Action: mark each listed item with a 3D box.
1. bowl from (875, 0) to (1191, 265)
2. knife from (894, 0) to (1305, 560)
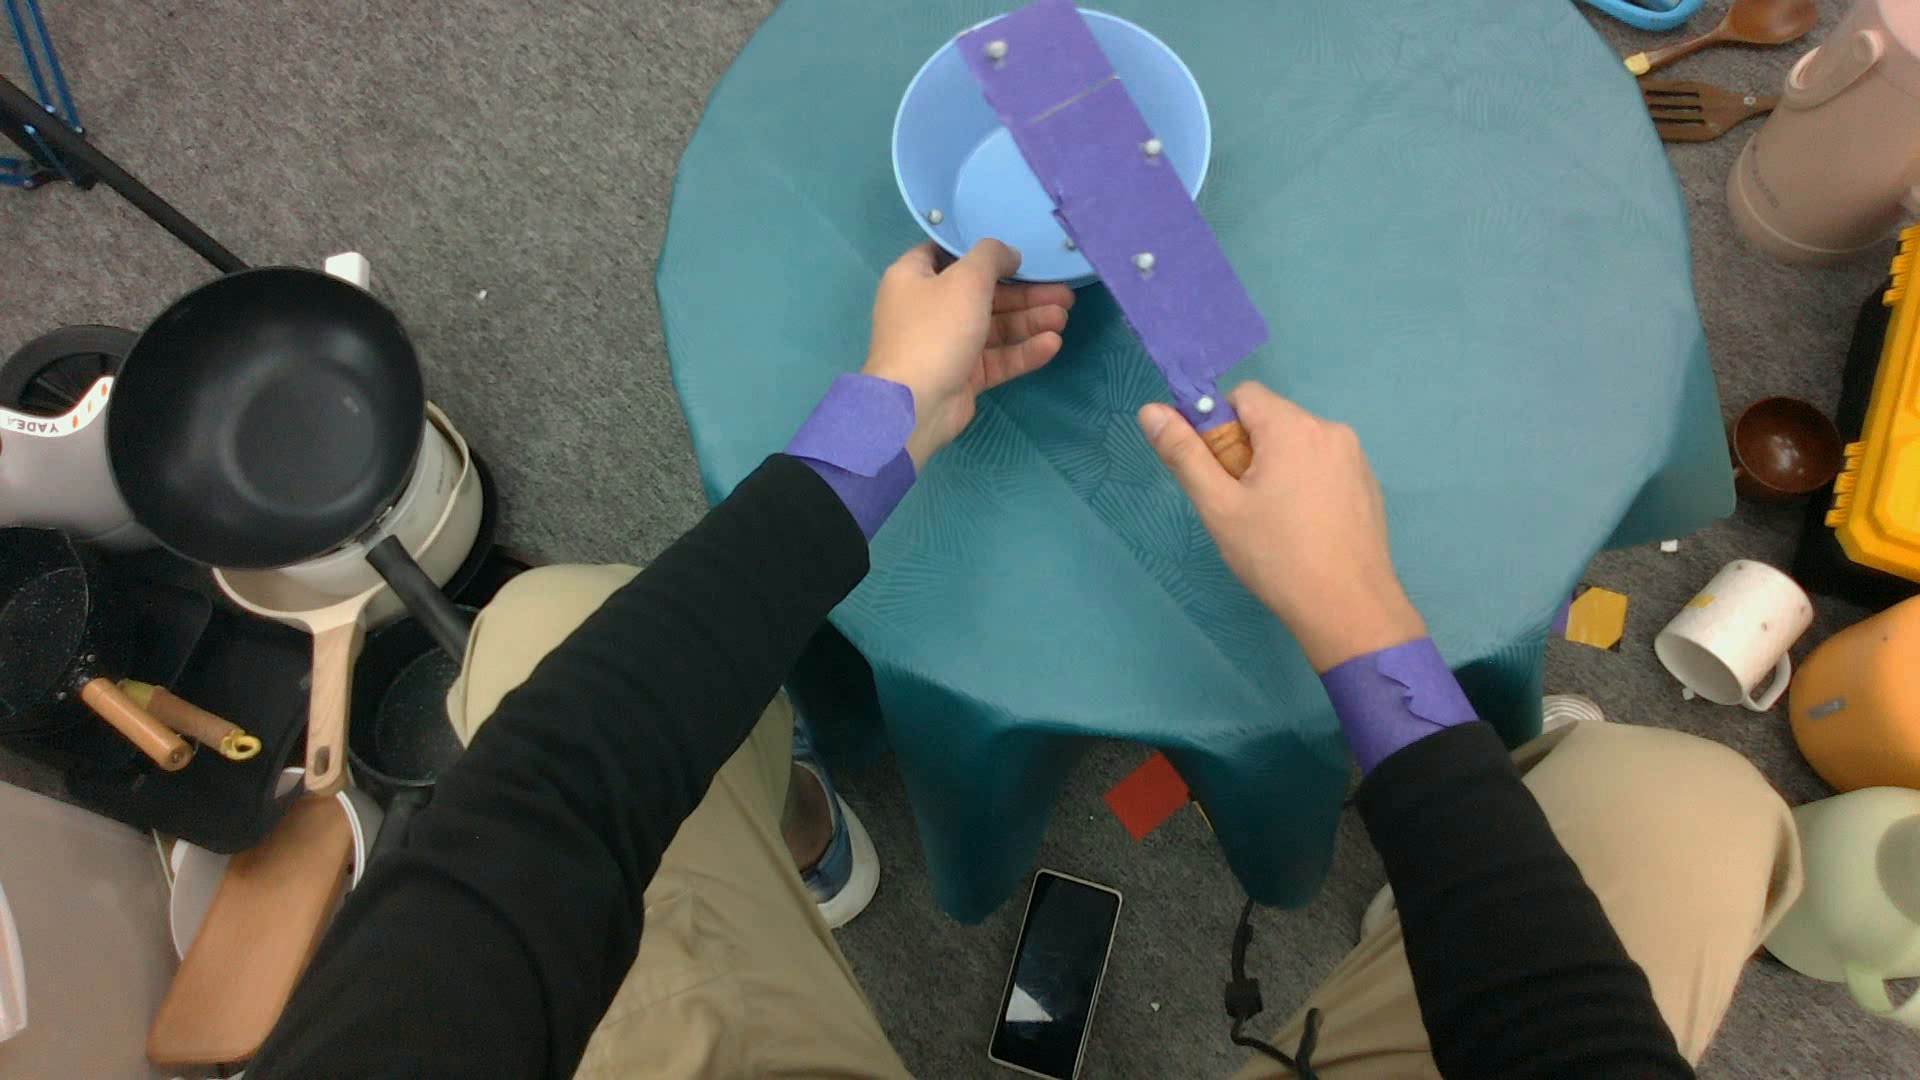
[{"bbox_3d":[0.043,-0.225,0.791,0.176,0.070,0.176,-2,72,5],"label":"bowl"},{"bbox_3d":[0.089,-0.139,0.683,0.104,0.032,0.315,-41,100,-38],"label":"knife"}]
